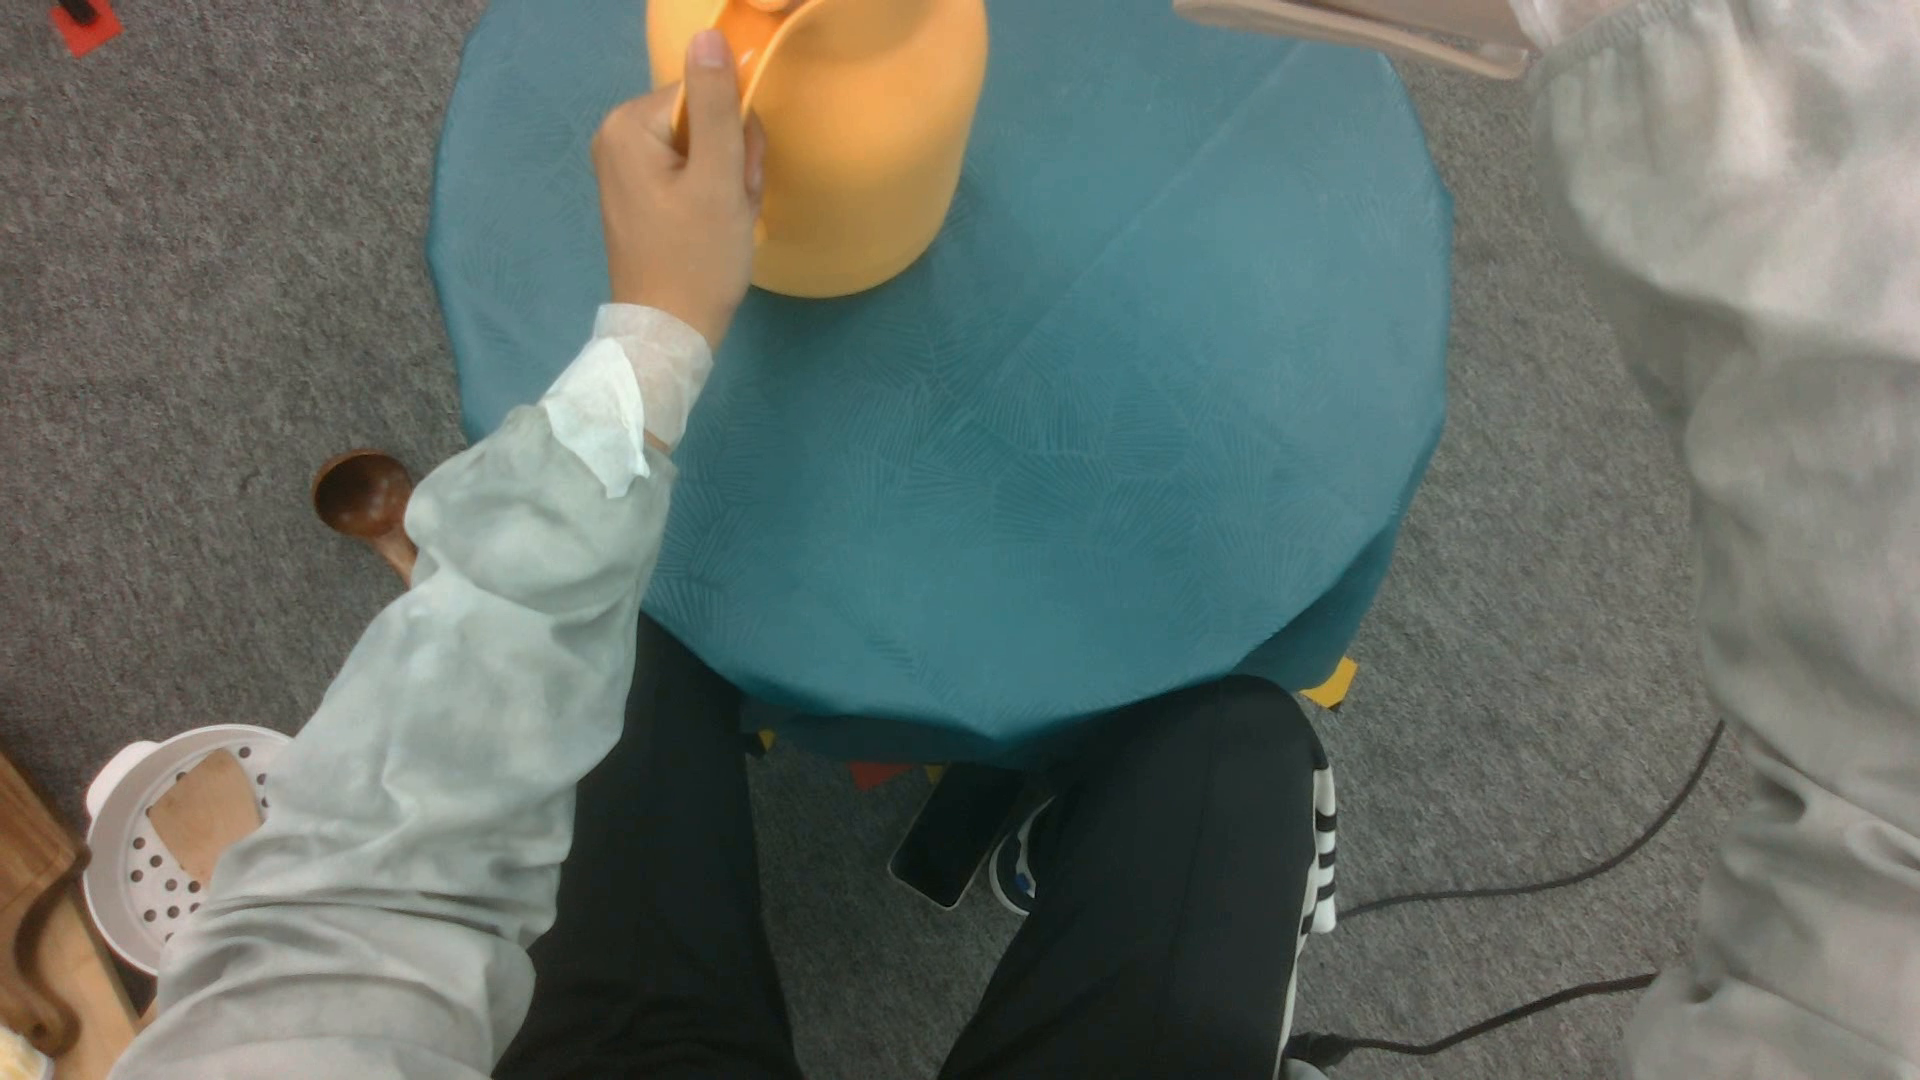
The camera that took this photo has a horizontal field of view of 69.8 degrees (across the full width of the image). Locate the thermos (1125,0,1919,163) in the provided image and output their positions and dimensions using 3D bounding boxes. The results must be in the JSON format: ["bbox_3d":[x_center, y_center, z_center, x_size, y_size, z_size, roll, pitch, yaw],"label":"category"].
[{"bbox_3d":[0.172,-0.237,0.448,0.406,0.207,0.175,12,96,2],"label":"thermos"}]

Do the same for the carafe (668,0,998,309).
[{"bbox_3d":[-0.073,-0.217,0.679,0.163,0.259,0.203,28,72,2],"label":"carafe"}]
